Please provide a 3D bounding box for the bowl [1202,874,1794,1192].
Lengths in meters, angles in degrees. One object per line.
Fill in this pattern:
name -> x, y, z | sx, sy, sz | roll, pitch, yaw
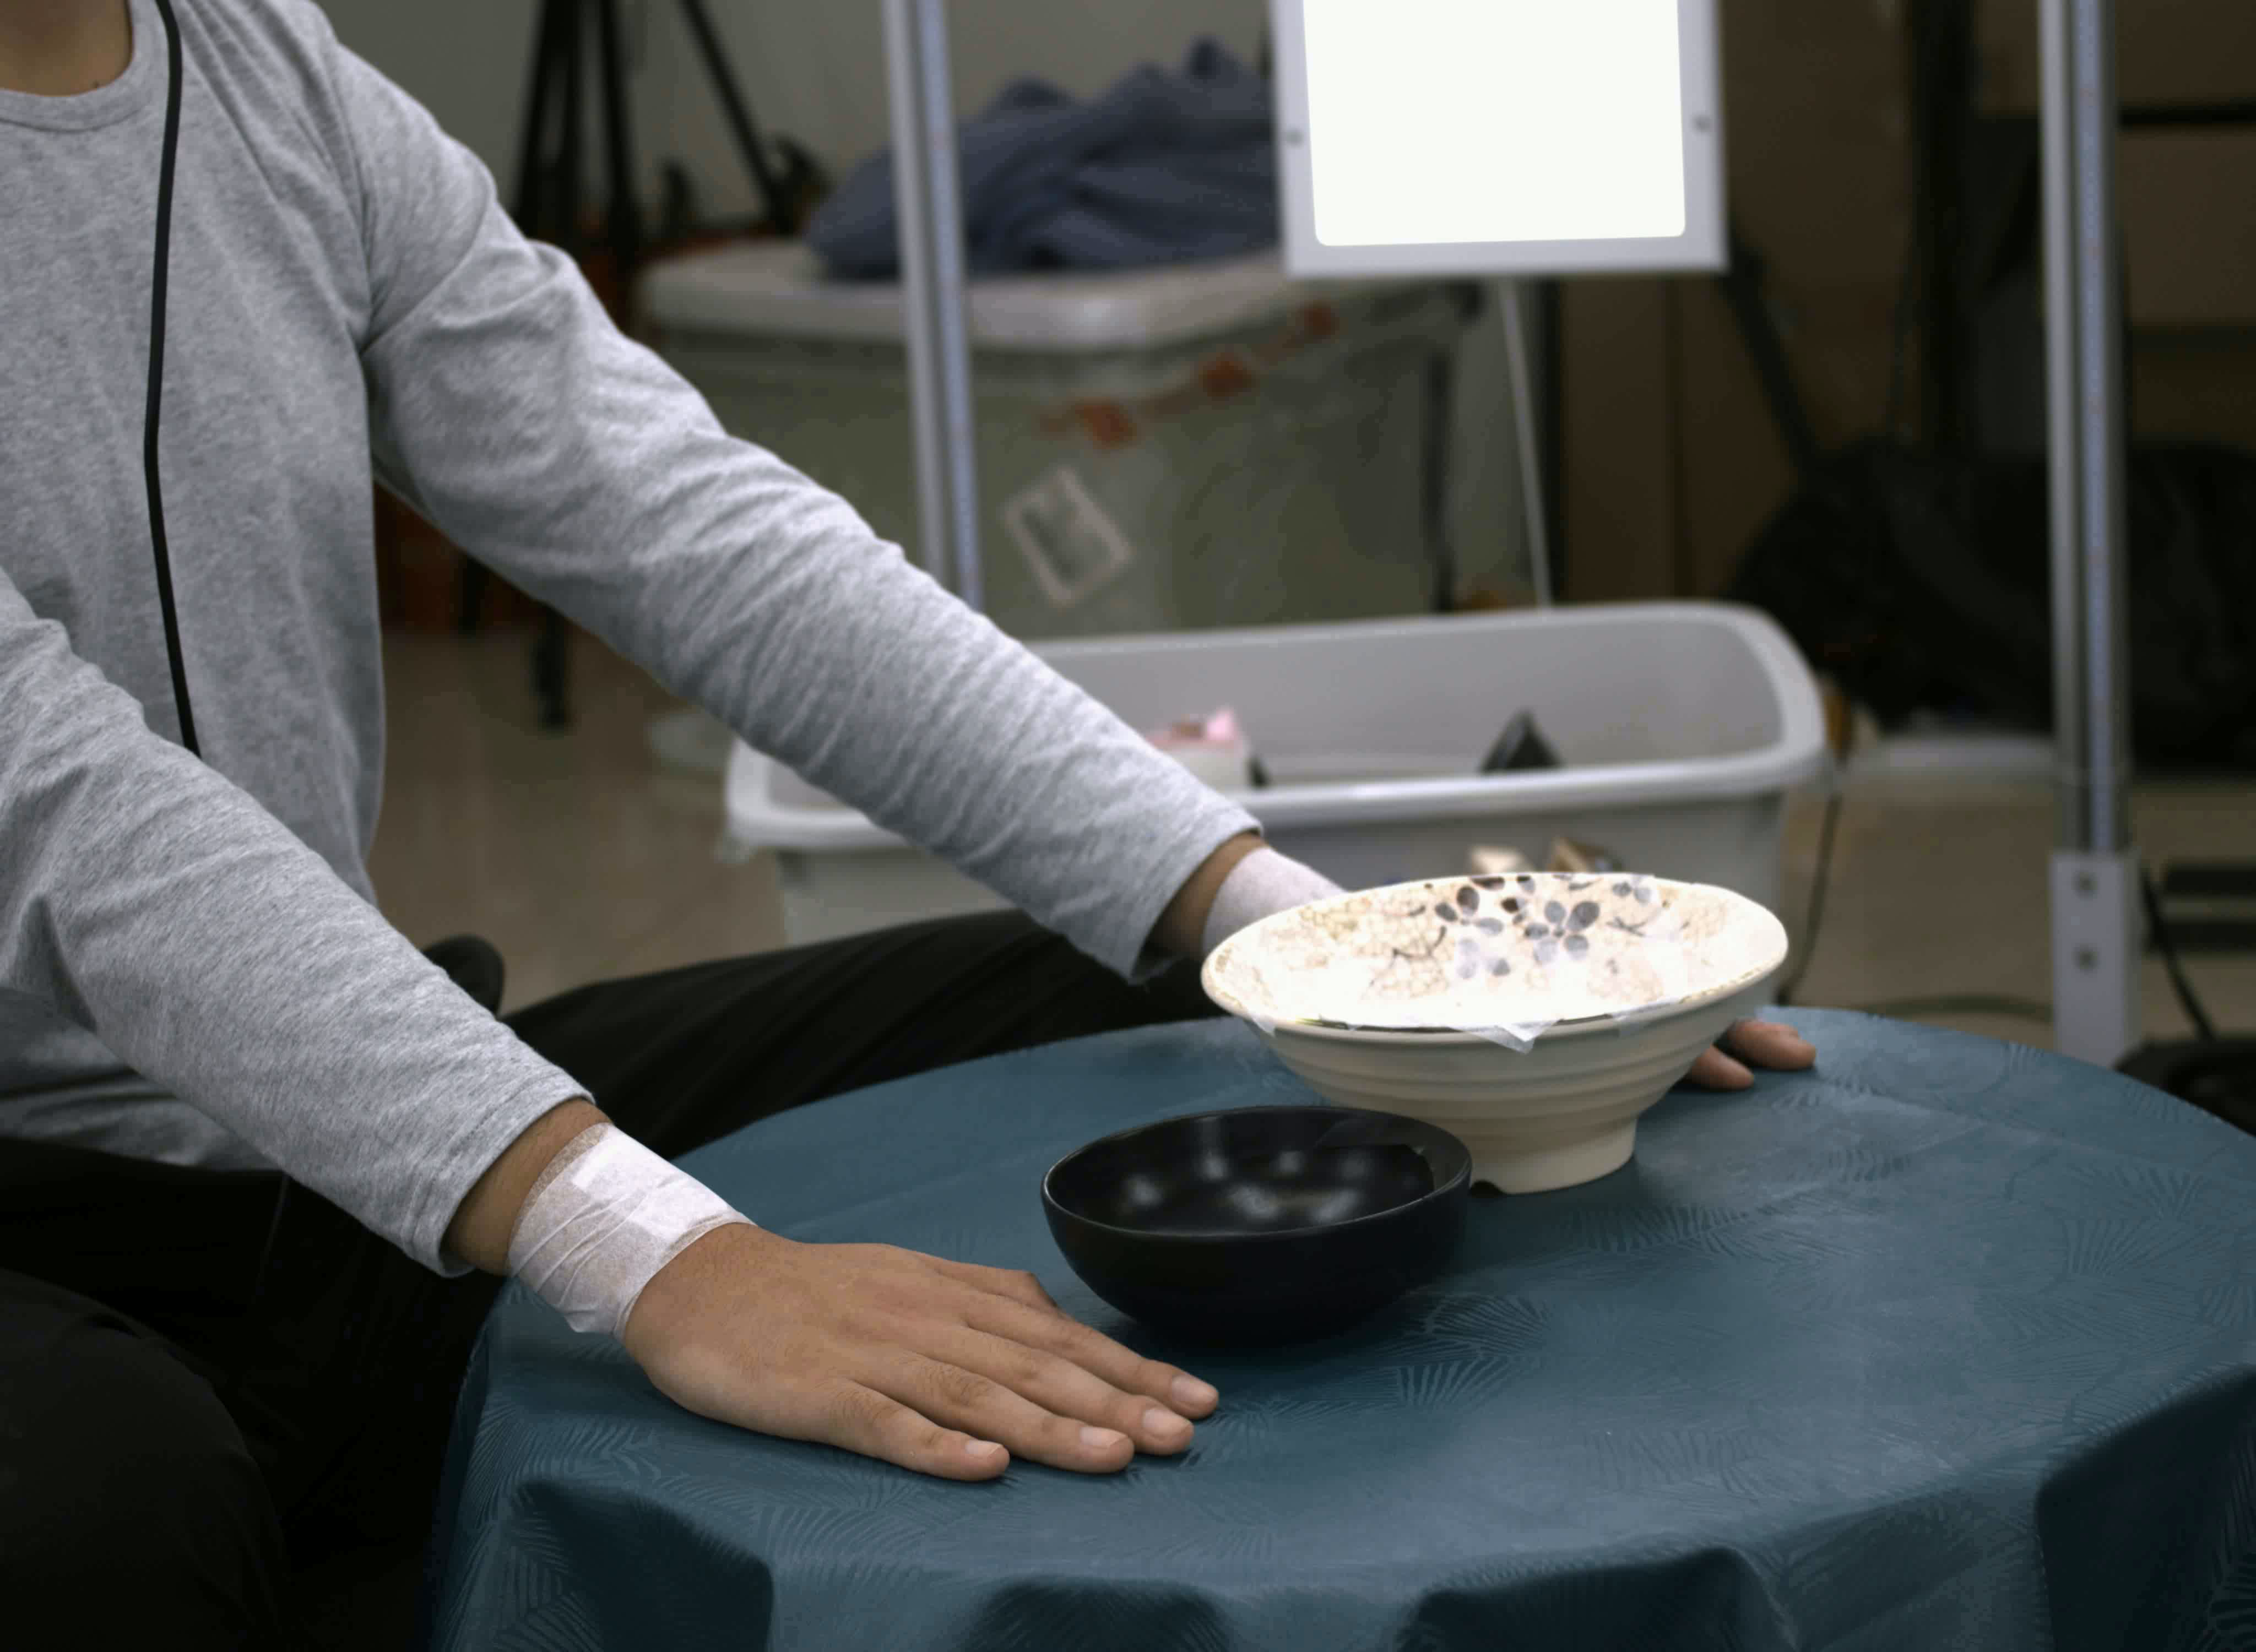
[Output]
bowl -> 0.130, 0.077, 1.892 | 0.203, 0.078, 0.204 | -5, 13, 0

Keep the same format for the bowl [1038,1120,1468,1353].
bowl -> 0.042, 0.135, 1.761 | 0.139, 0.050, 0.140 | -7, 10, 0
